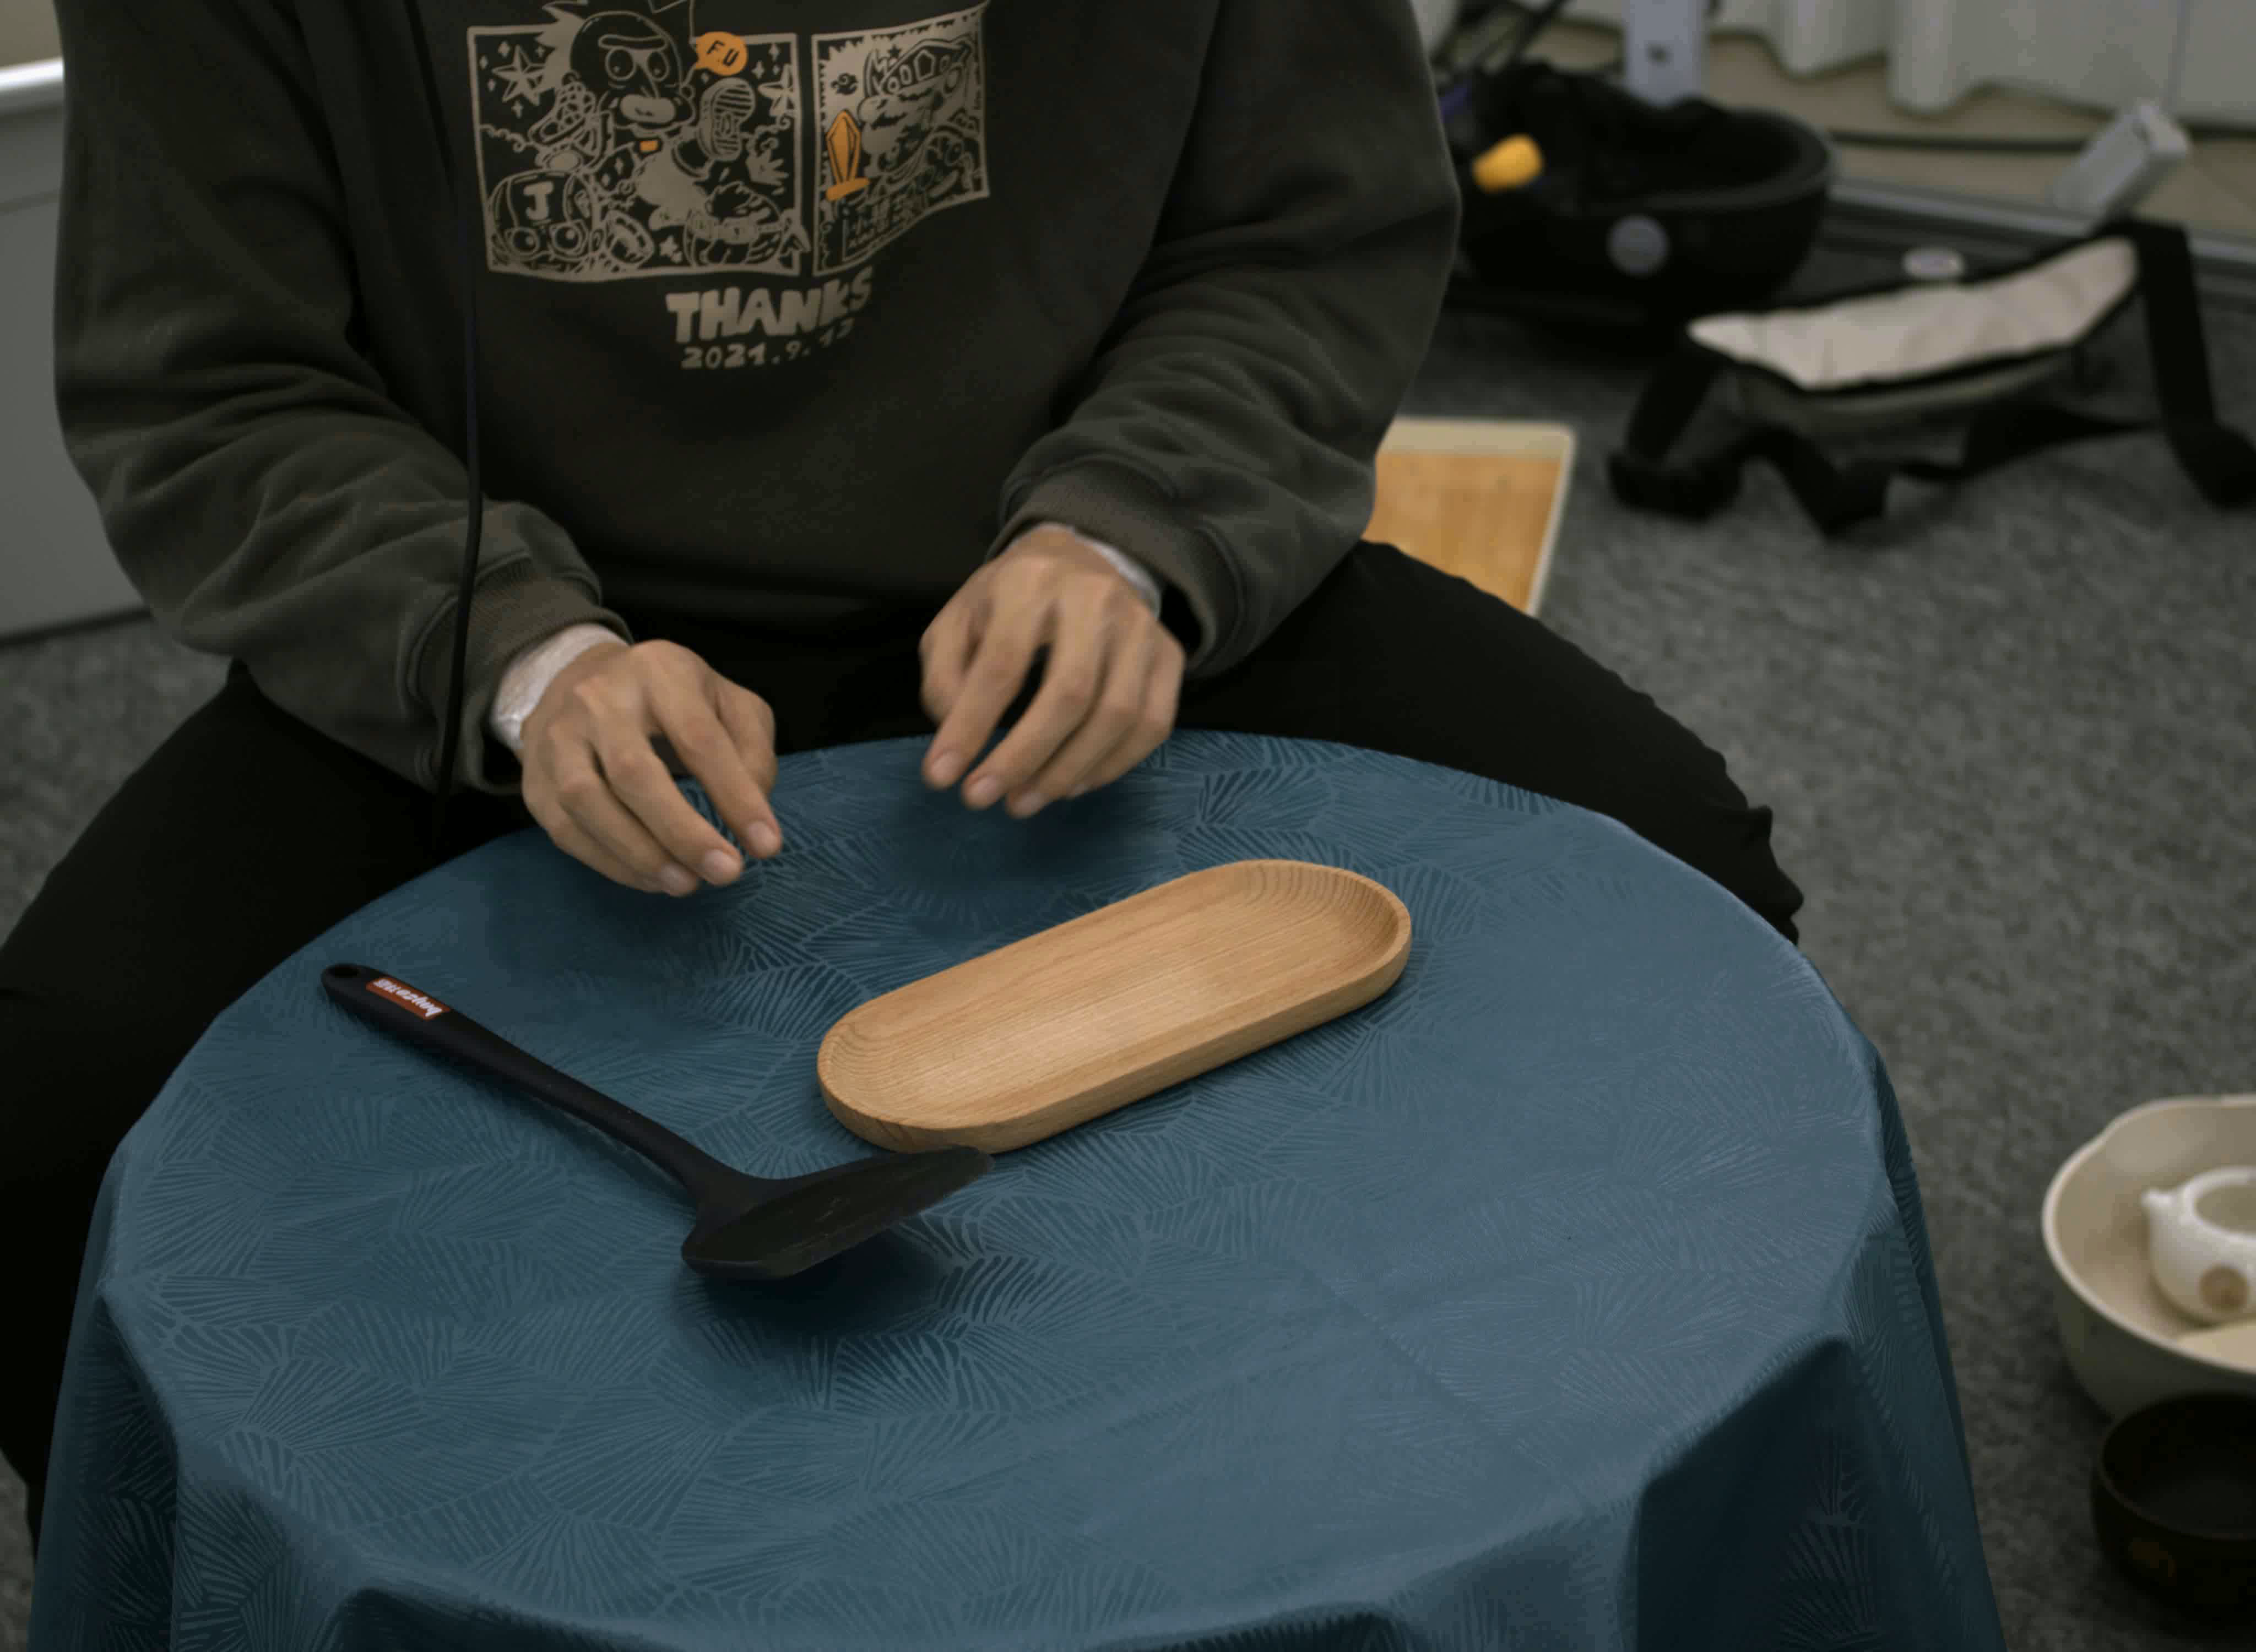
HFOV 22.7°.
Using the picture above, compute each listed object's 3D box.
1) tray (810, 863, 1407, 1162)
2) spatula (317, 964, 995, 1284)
[{"bbox_3d":[-0.005,0.064,1.954,0.233,0.020,0.102,-22,33,-30],"label":"tray"},{"bbox_3d":[-0.180,0.092,1.896,0.101,0.040,0.326,-24,34,-36],"label":"spatula"}]
